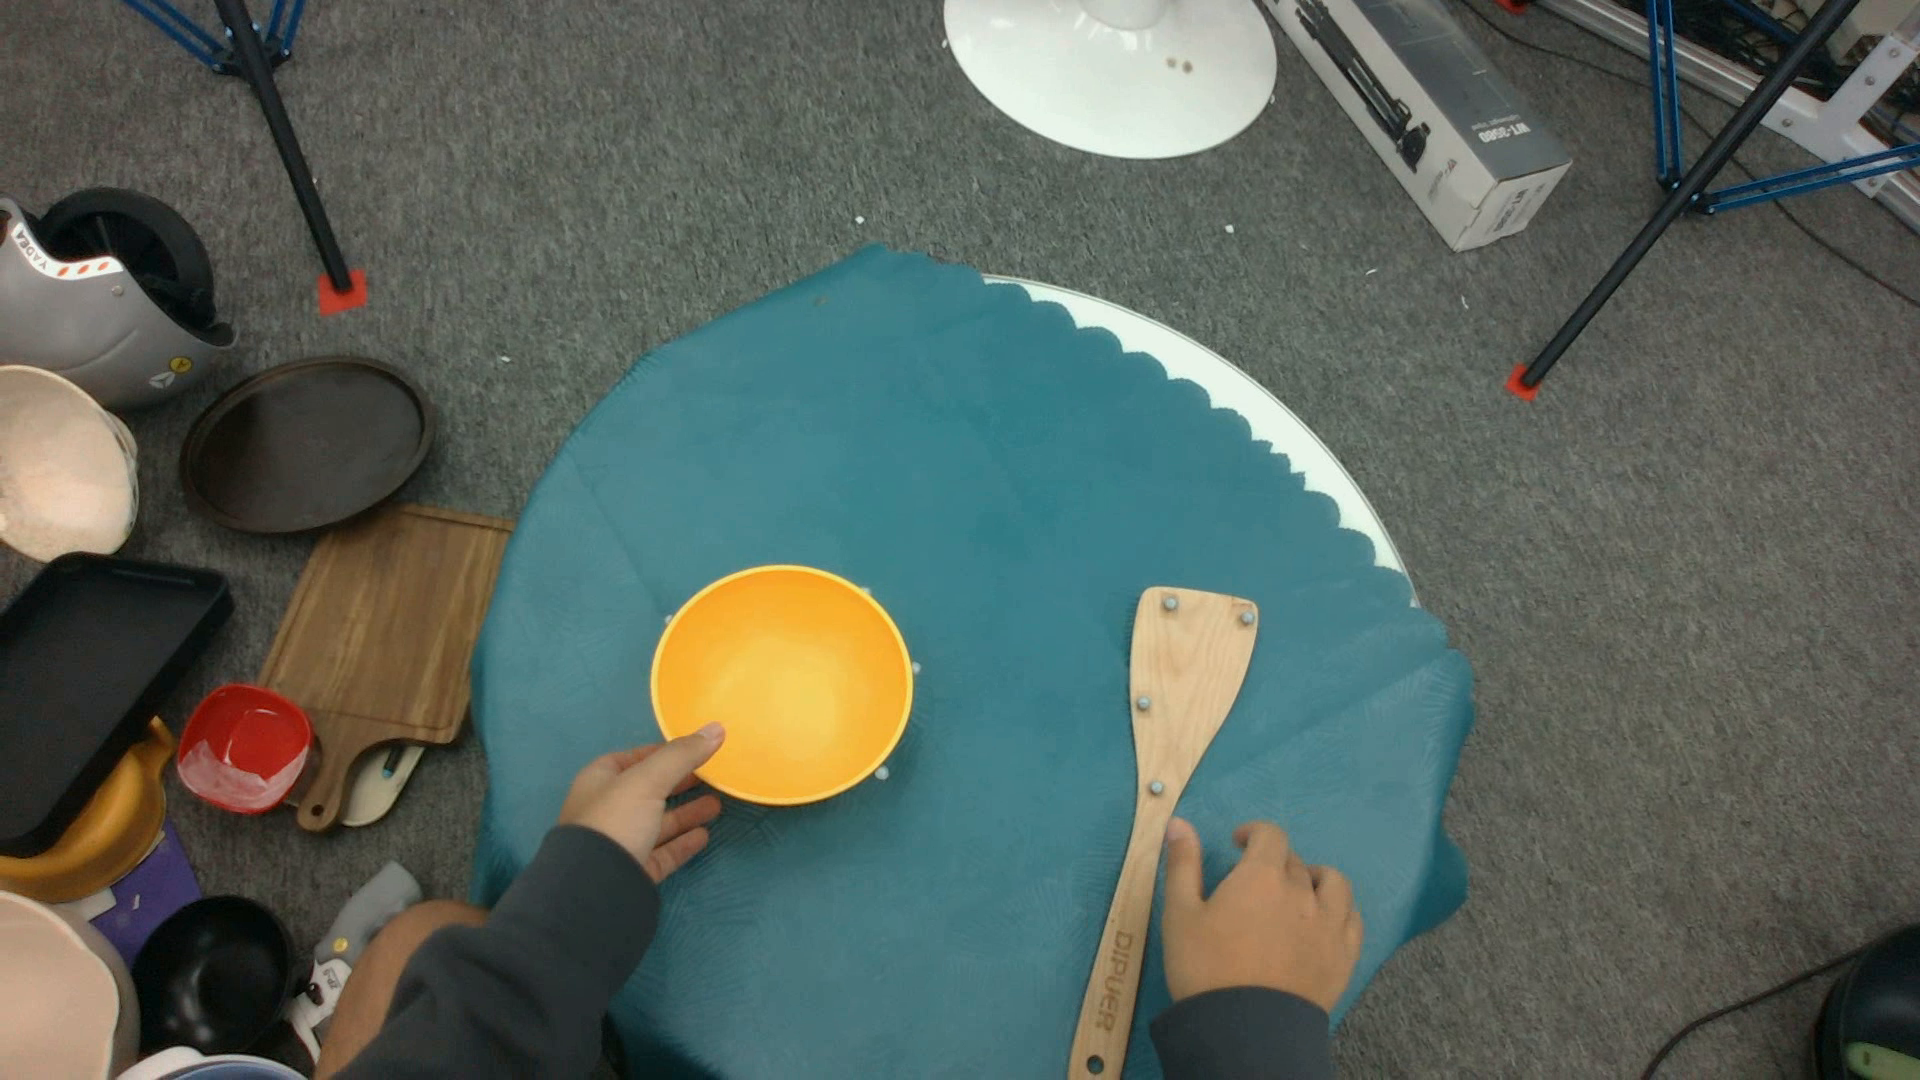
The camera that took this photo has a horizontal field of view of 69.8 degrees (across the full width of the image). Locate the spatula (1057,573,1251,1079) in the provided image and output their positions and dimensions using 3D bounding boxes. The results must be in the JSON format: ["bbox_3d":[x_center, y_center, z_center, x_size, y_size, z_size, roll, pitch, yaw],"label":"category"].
[{"bbox_3d":[0.106,0.157,0.809,0.080,0.016,0.329,19,59,0],"label":"spatula"}]

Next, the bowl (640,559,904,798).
[{"bbox_3d":[-0.107,0.087,0.785,0.145,0.060,0.146,4,59,-7],"label":"bowl"}]
